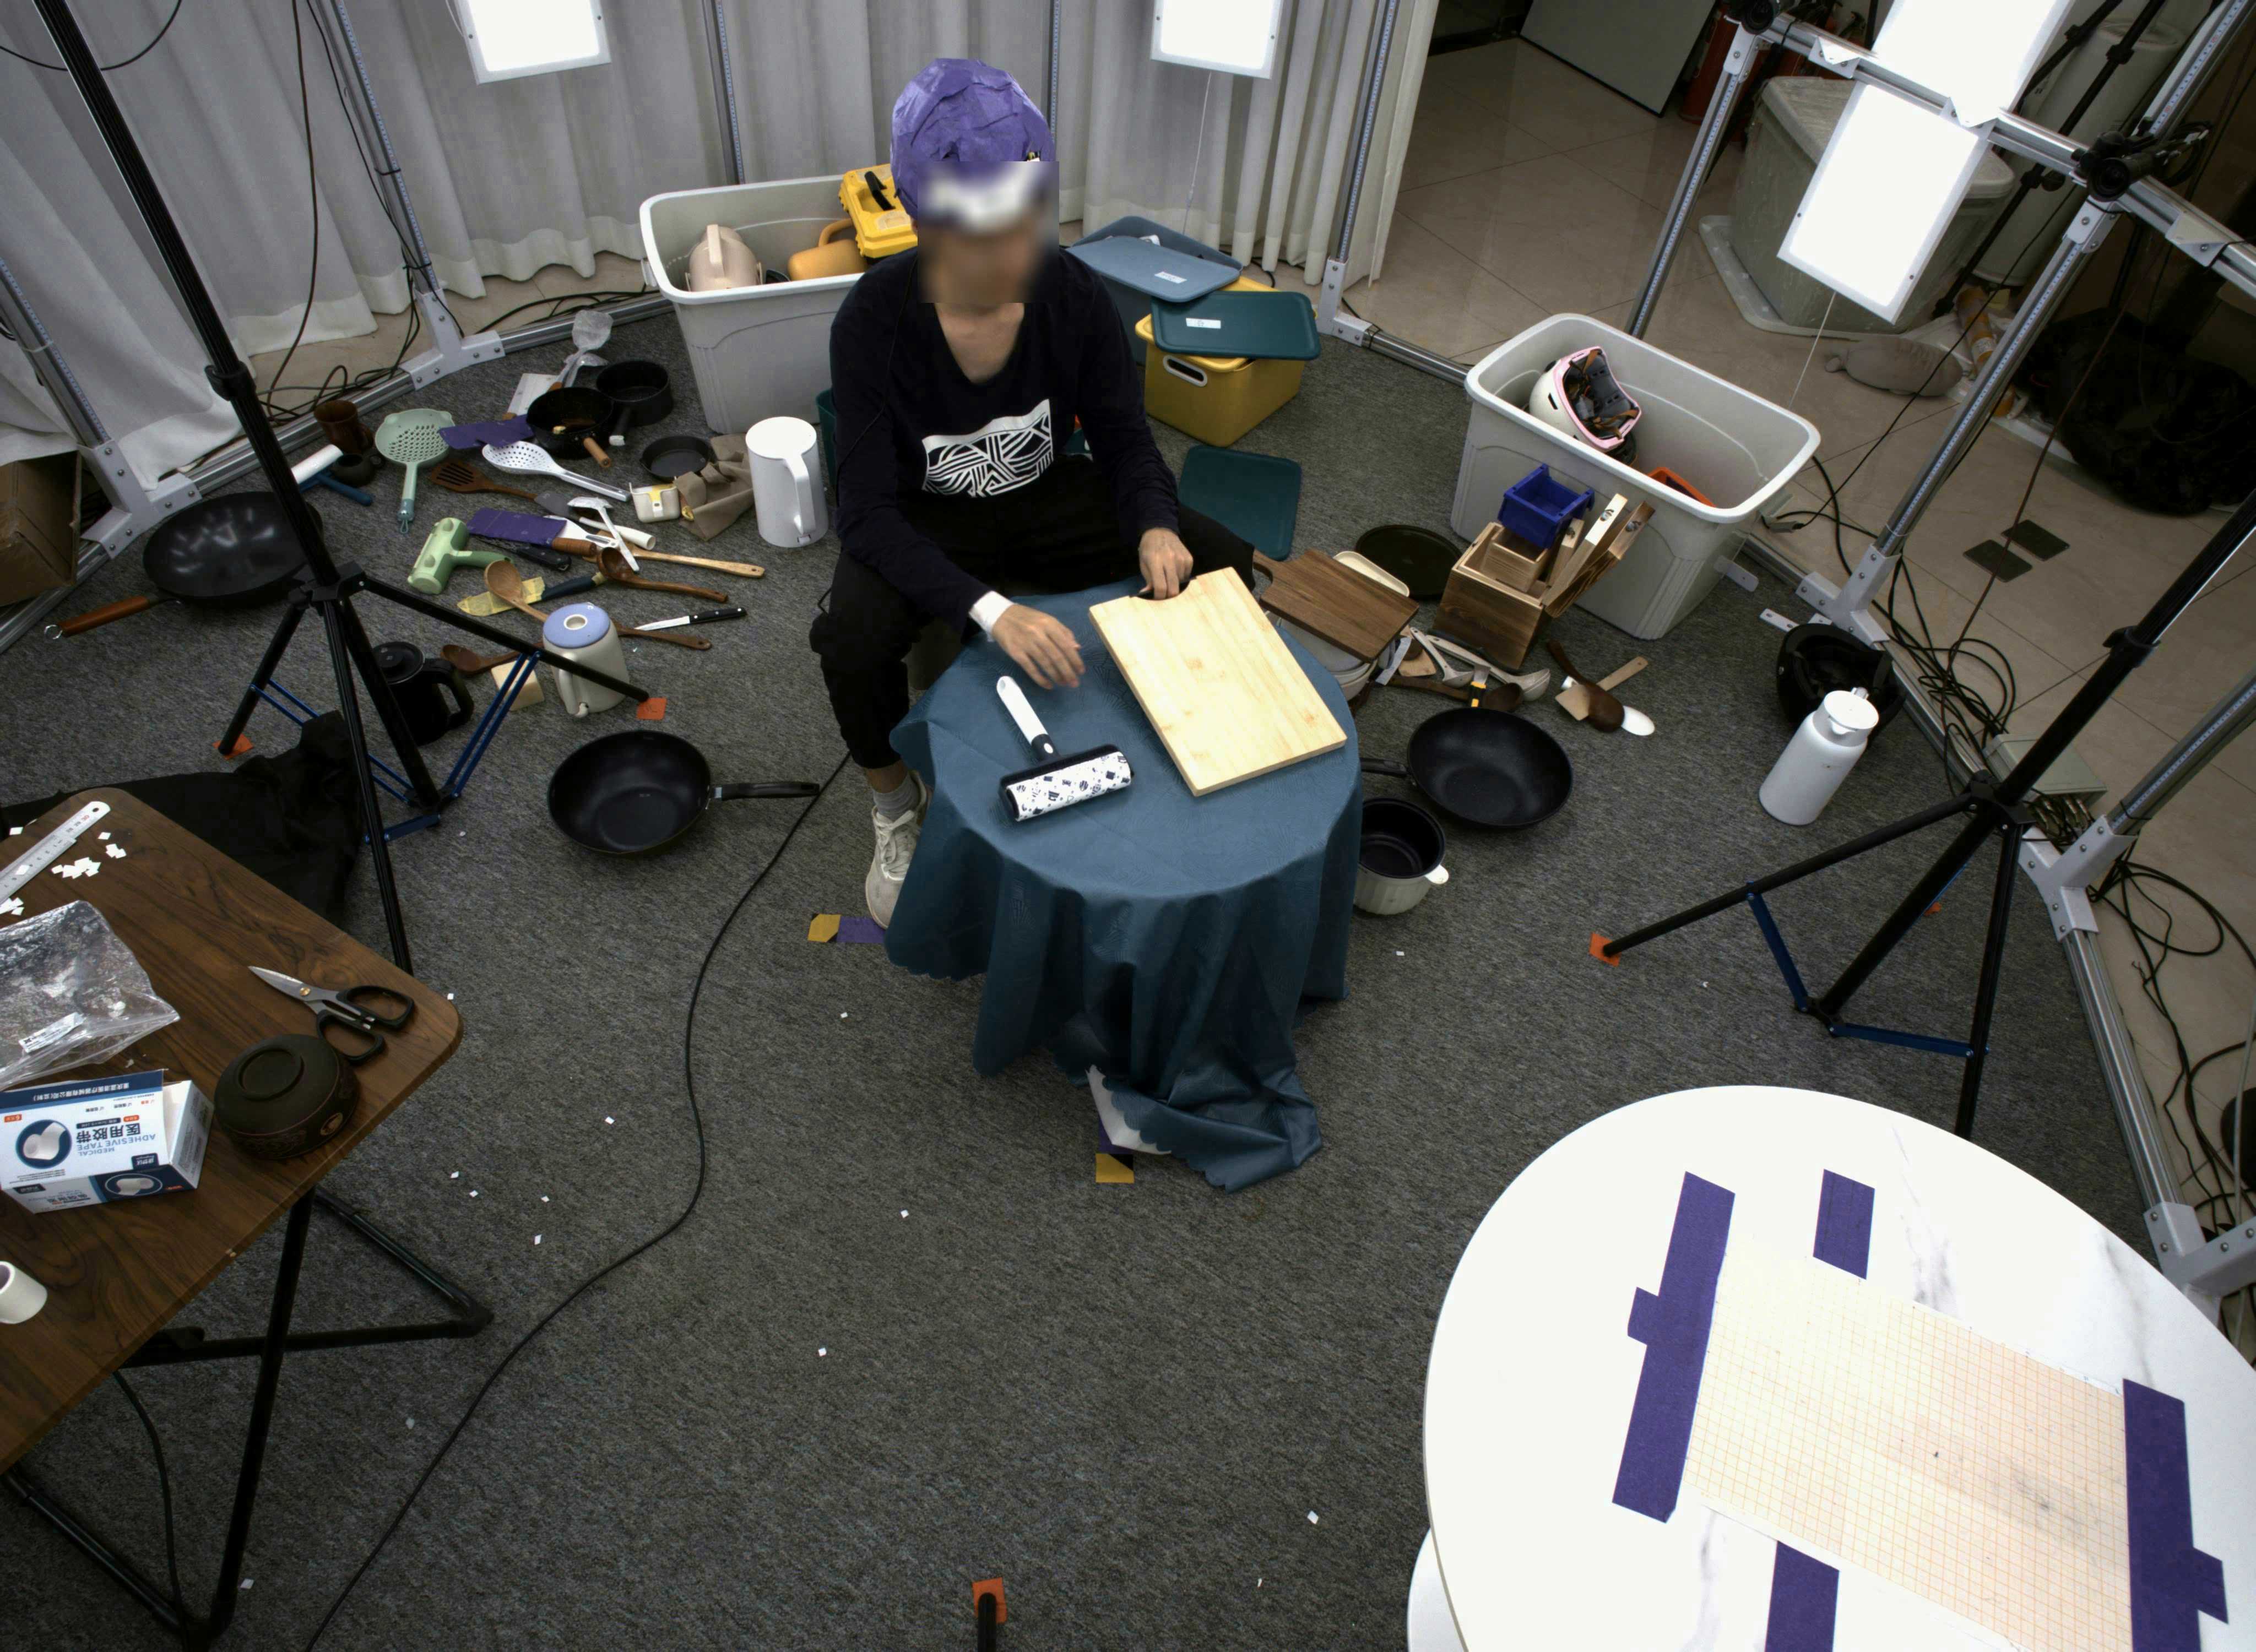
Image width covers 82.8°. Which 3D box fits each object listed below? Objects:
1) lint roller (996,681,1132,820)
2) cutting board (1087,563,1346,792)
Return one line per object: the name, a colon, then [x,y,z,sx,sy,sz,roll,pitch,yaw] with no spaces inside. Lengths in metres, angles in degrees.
lint roller: [-0.125,-0.122,1.738,0.176,0.049,0.252,-20,51,-18]
cutting board: [0.120,-0.217,1.822,0.251,0.023,0.355,-19,61,-20]
